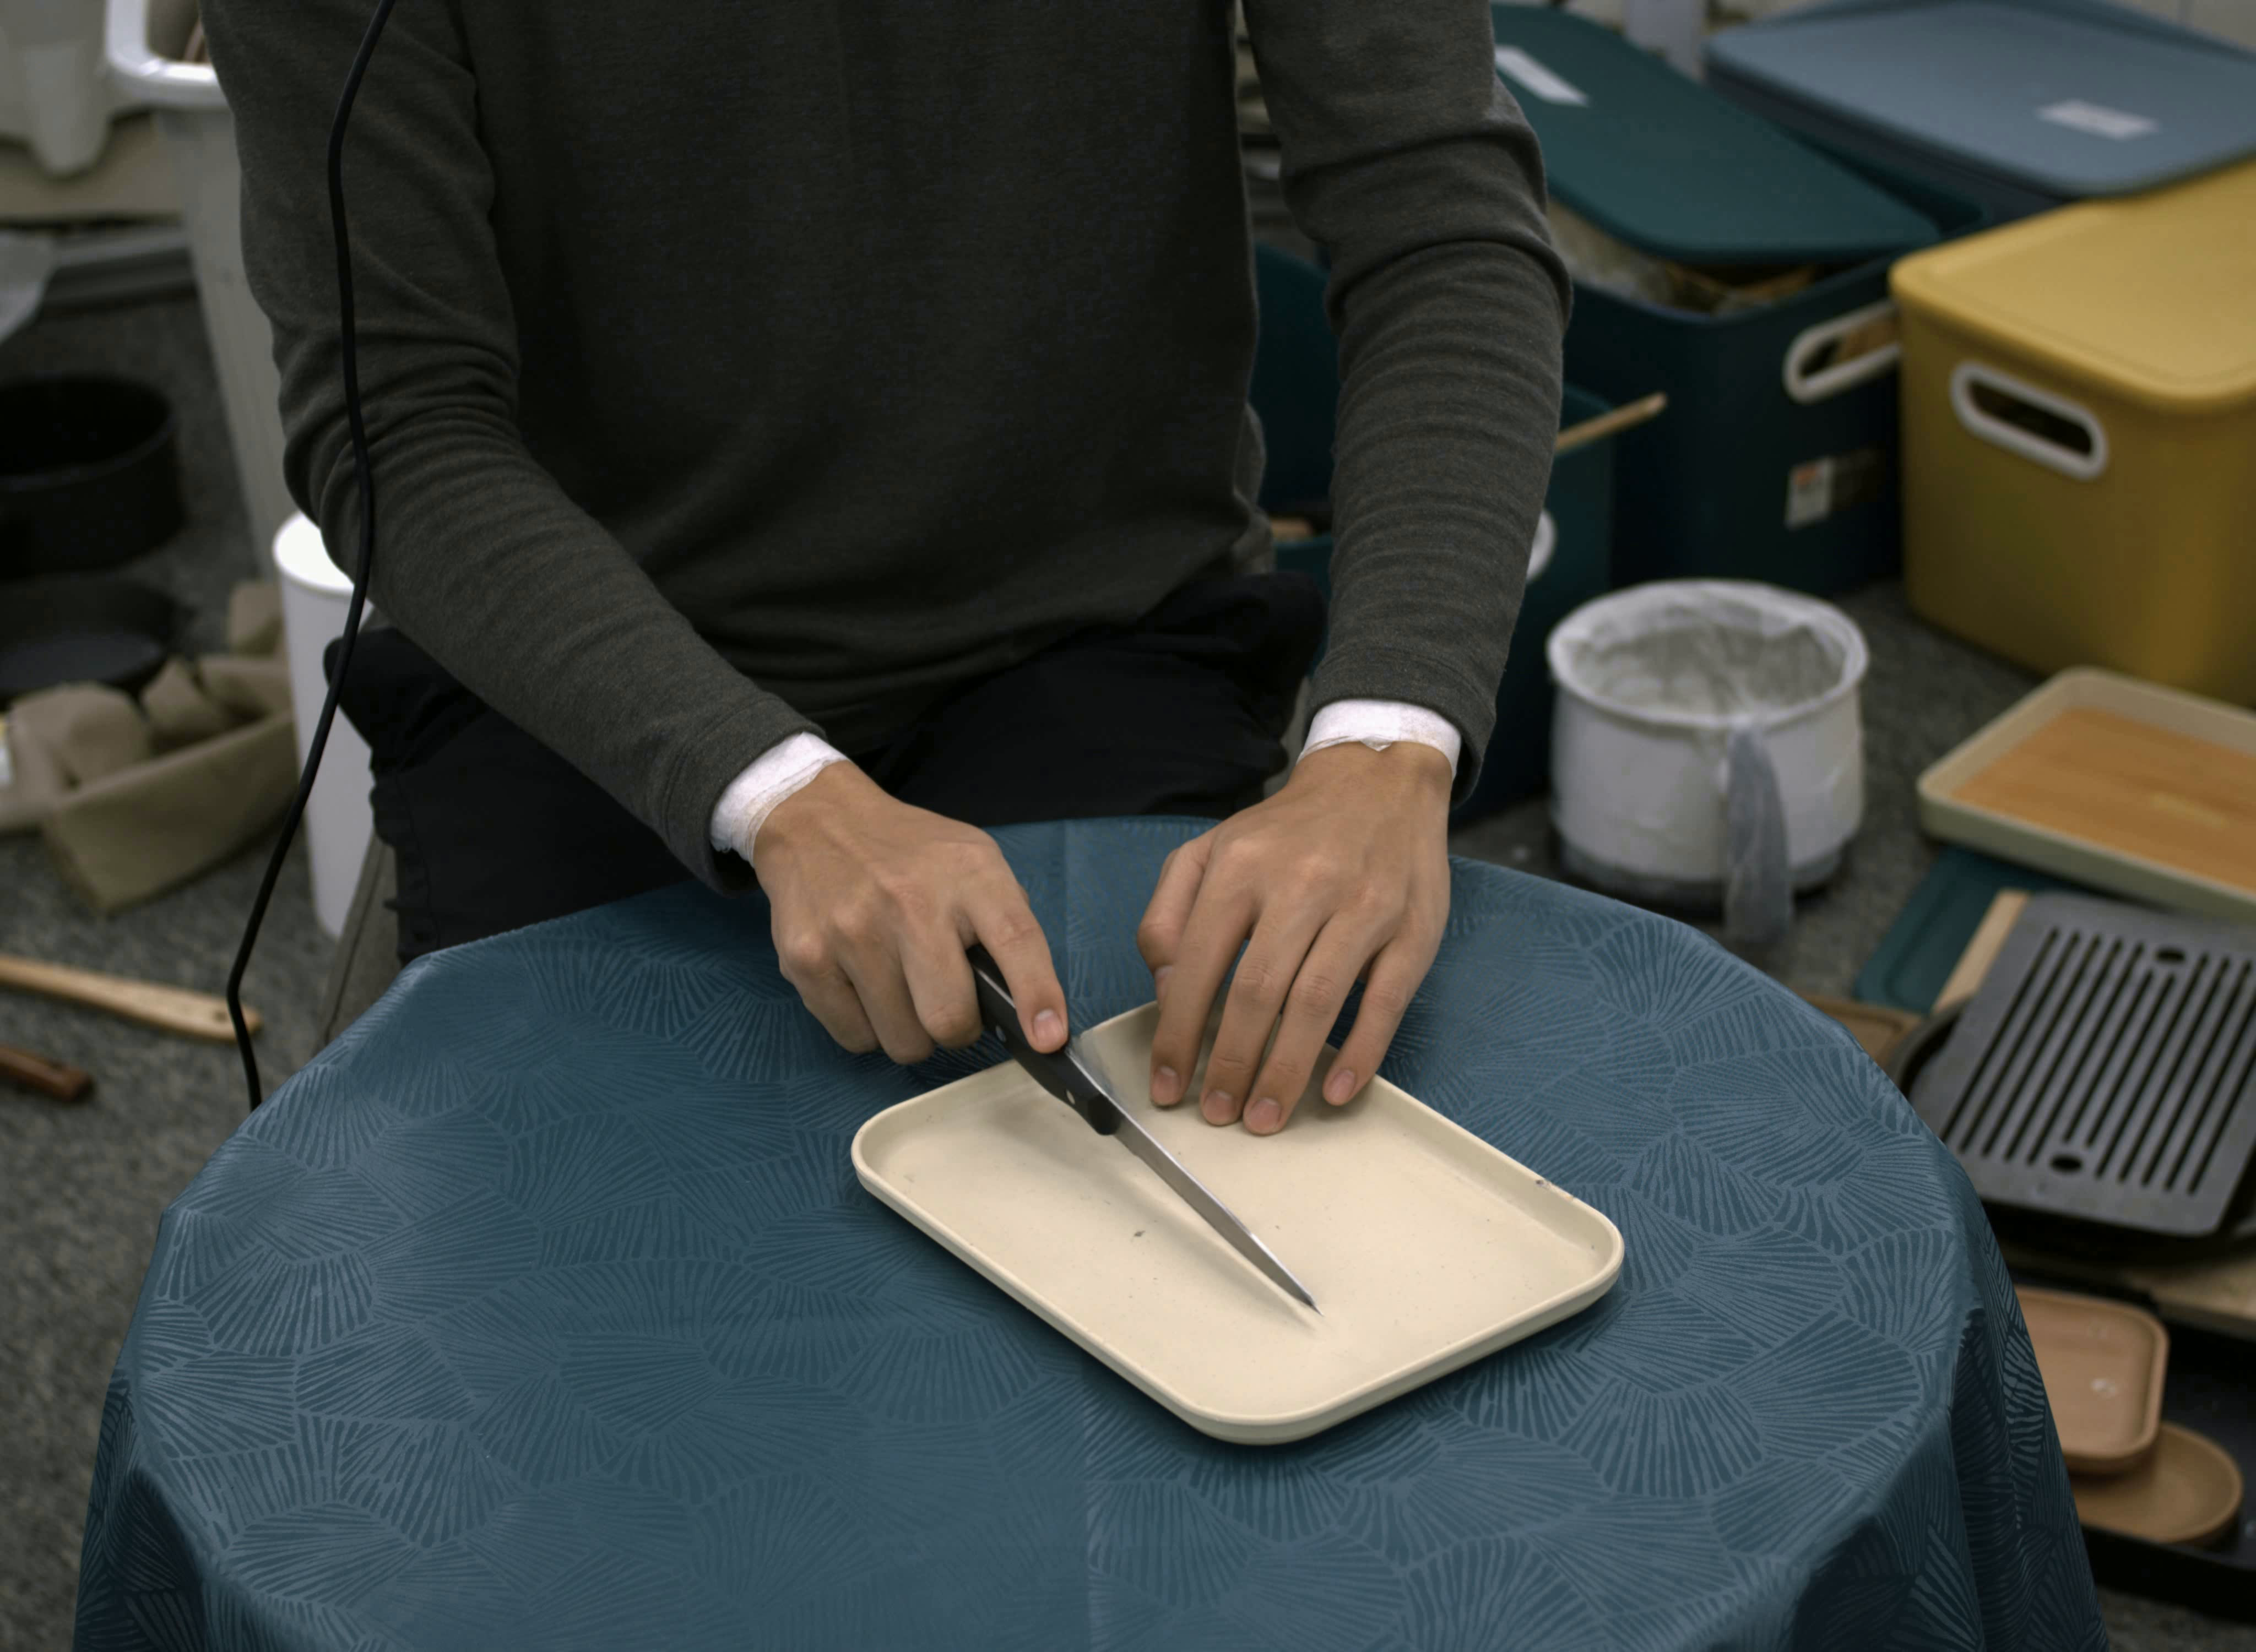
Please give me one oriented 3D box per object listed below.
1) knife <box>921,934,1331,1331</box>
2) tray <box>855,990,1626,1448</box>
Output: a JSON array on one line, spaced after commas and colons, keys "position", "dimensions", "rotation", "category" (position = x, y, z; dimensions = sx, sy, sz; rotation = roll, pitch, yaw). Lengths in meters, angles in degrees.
[{"position": [-0.002, 0.099, 1.853], "dimensions": [0.016, 0.024, 0.239], "rotation": [-31, 44, -17], "category": "knife"}, {"position": [0.034, 0.126, 1.830], "dimensions": [0.173, 0.017, 0.240], "rotation": [-21, 32, -29], "category": "tray"}]
